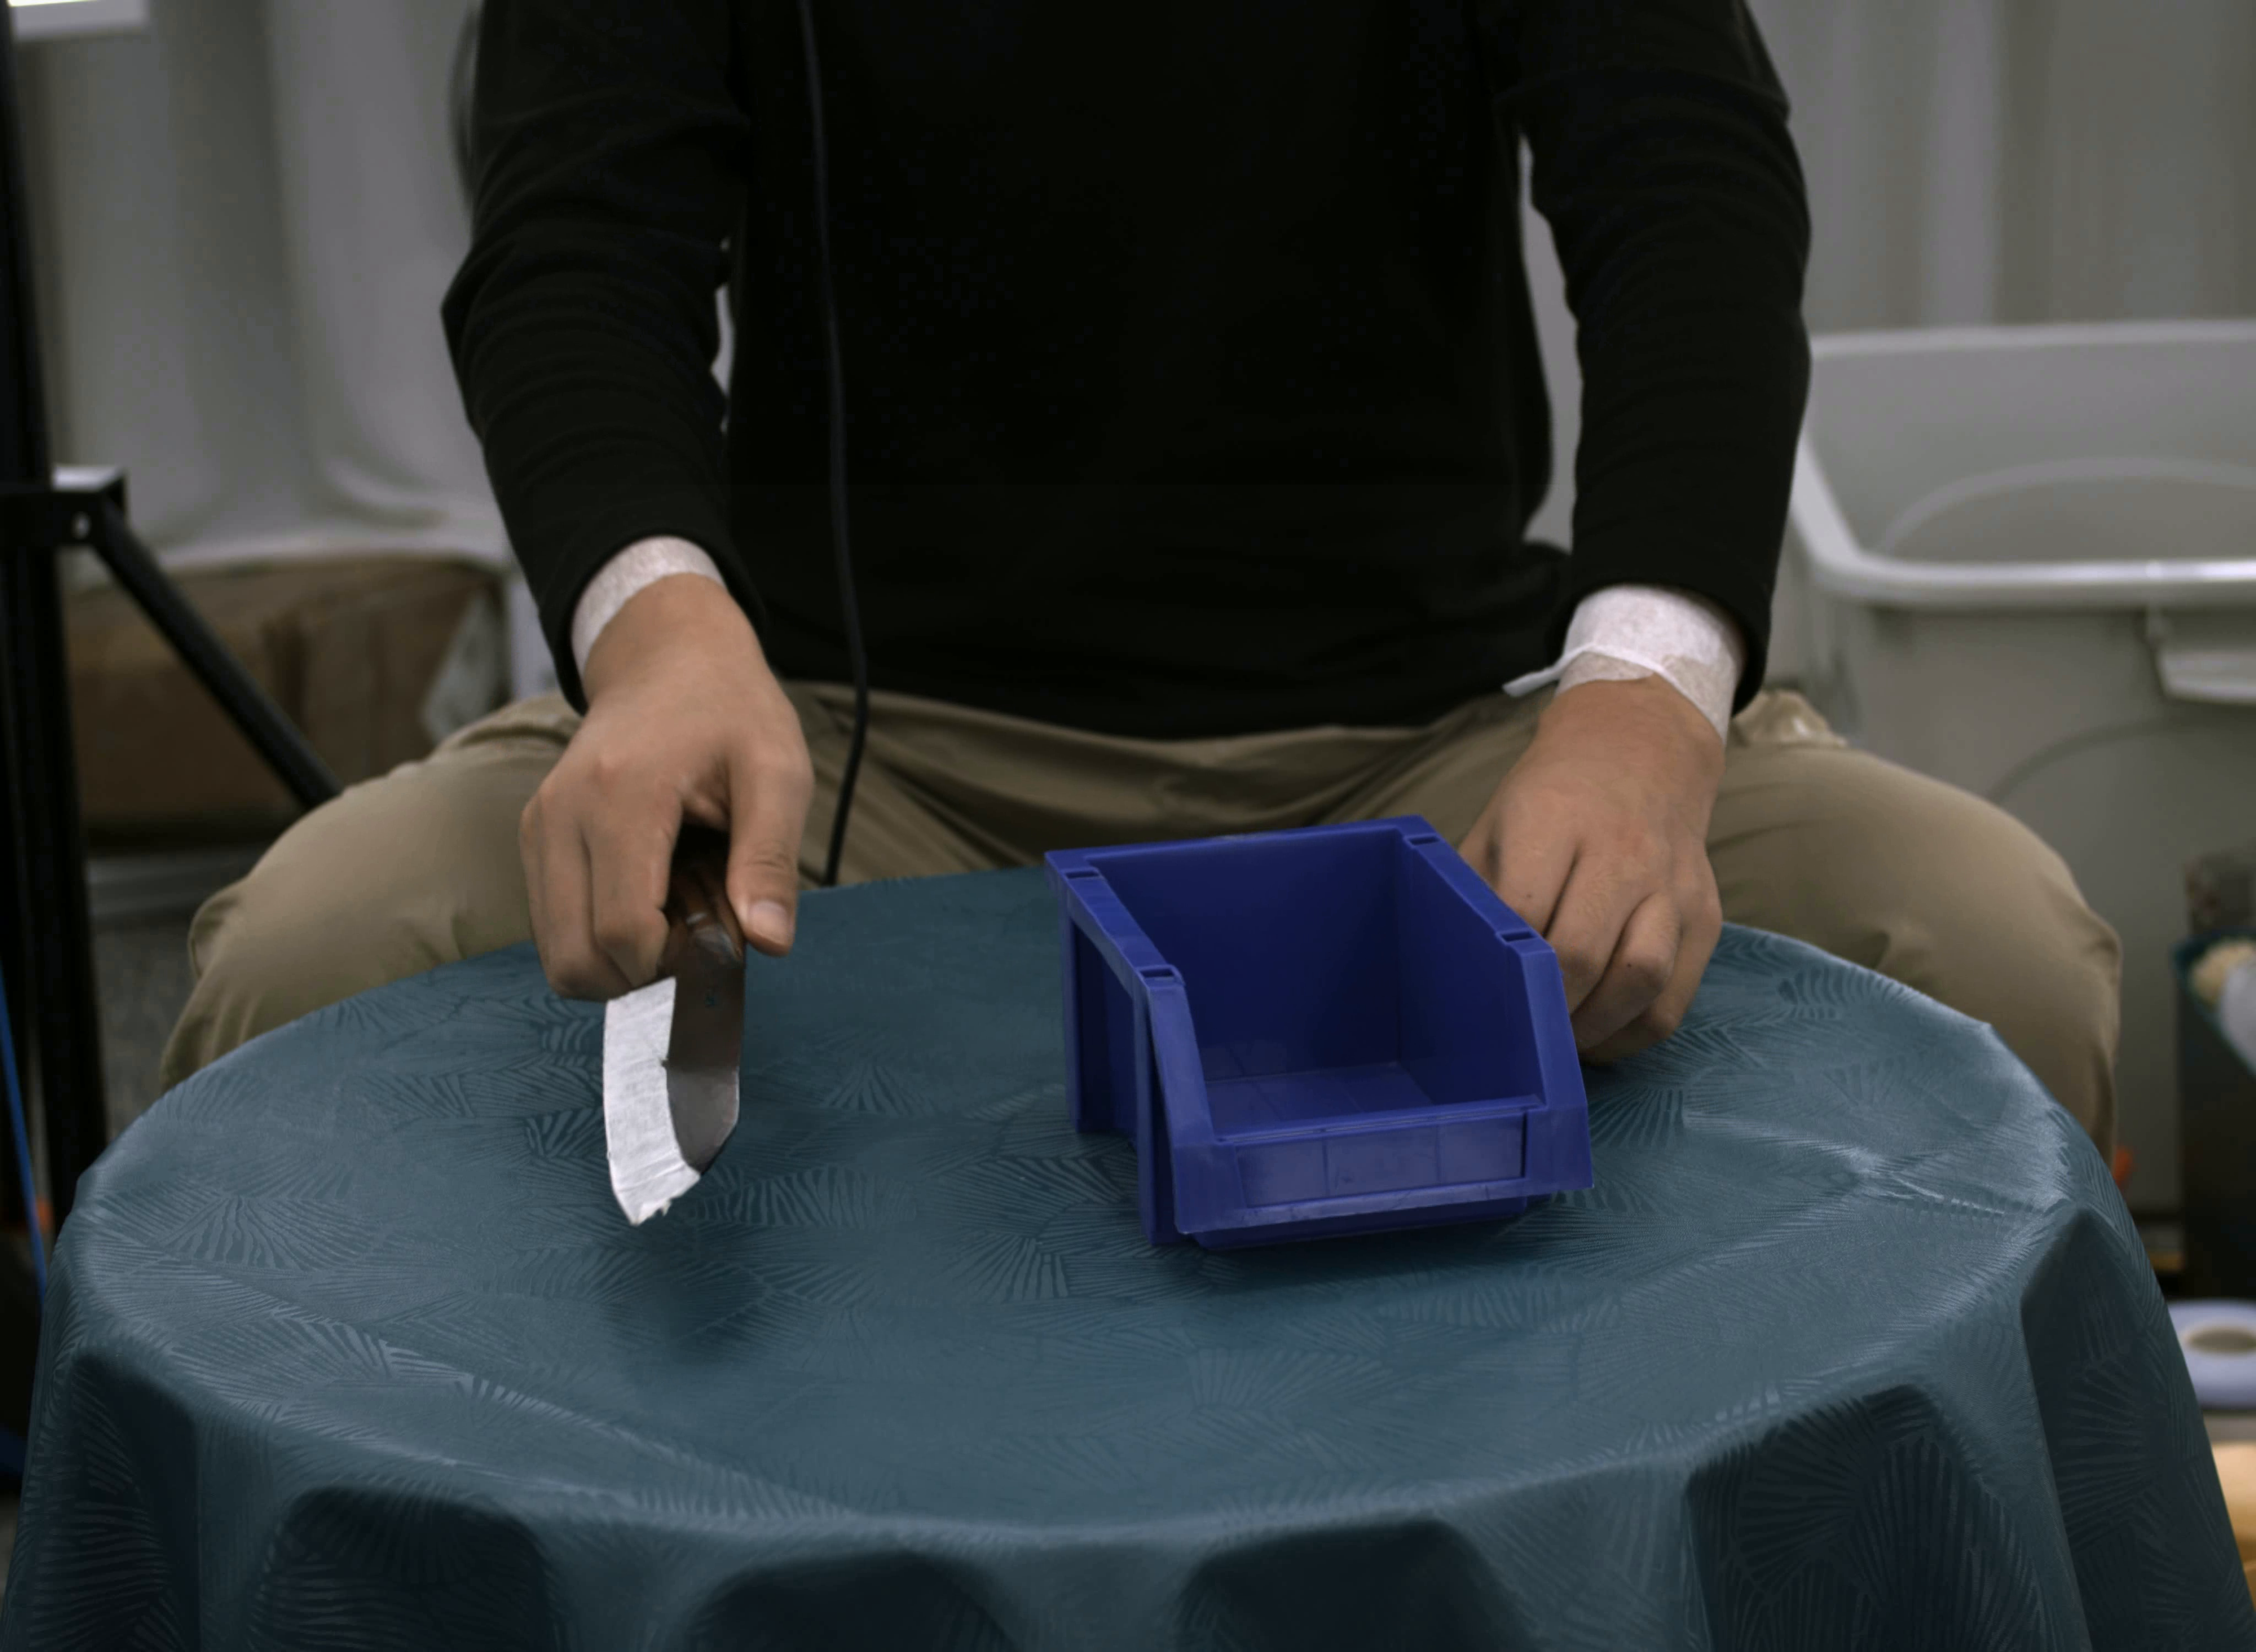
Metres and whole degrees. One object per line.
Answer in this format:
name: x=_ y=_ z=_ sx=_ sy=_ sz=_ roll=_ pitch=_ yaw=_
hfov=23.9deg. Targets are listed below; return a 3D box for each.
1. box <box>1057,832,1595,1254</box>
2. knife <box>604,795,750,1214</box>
box: x=0.057 y=0.065 z=1.549 sx=0.123 sy=0.082 sz=0.181 roll=-5 pitch=13 yaw=-9
knife: x=-0.132 y=0.051 z=1.579 sx=0.050 sy=0.020 sz=0.291 roll=-21 pitch=21 yaw=6
